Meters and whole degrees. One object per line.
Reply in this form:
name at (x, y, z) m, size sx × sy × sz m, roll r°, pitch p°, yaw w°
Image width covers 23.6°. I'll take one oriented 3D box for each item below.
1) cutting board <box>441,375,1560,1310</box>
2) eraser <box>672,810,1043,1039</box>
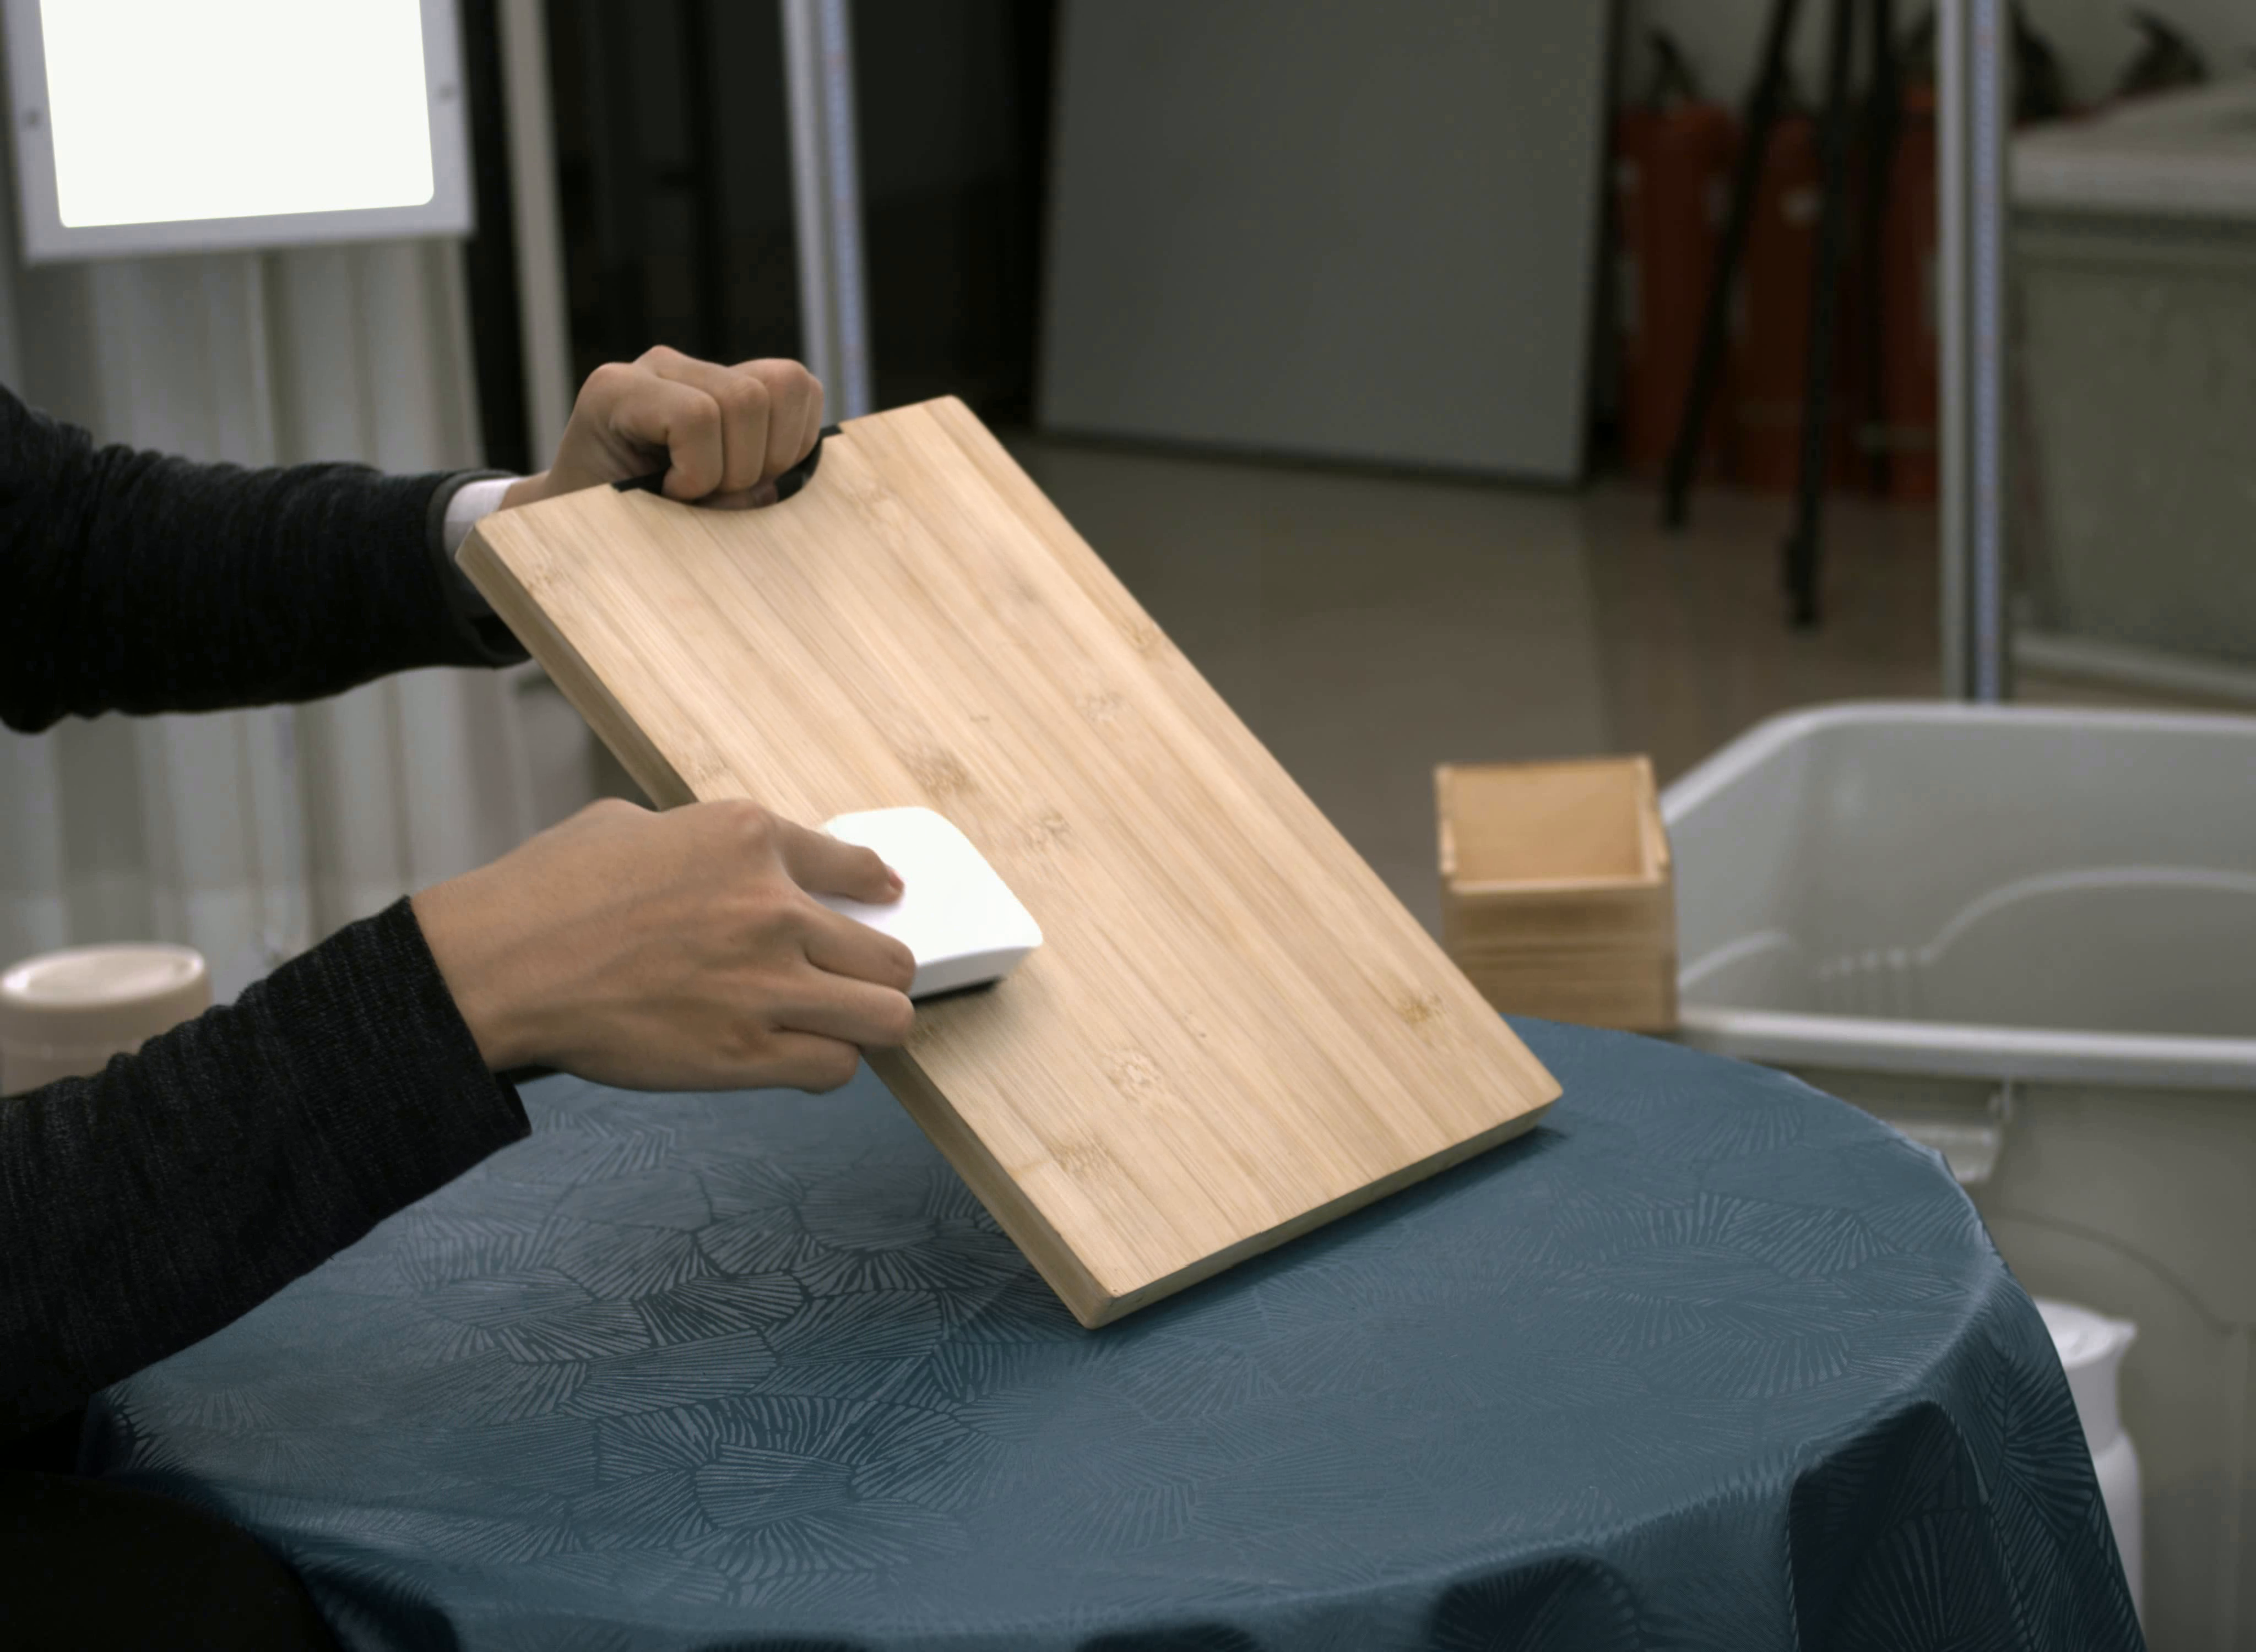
cutting board at (-0.040, -0.004, 1.781) m, size 0.246 × 0.024 × 0.352 m, roll -19°, pitch 61°, yaw -47°
eraser at (-0.082, 0.029, 1.659) m, size 0.129 × 0.035 × 0.064 m, roll -7°, pitch 51°, yaw -53°
